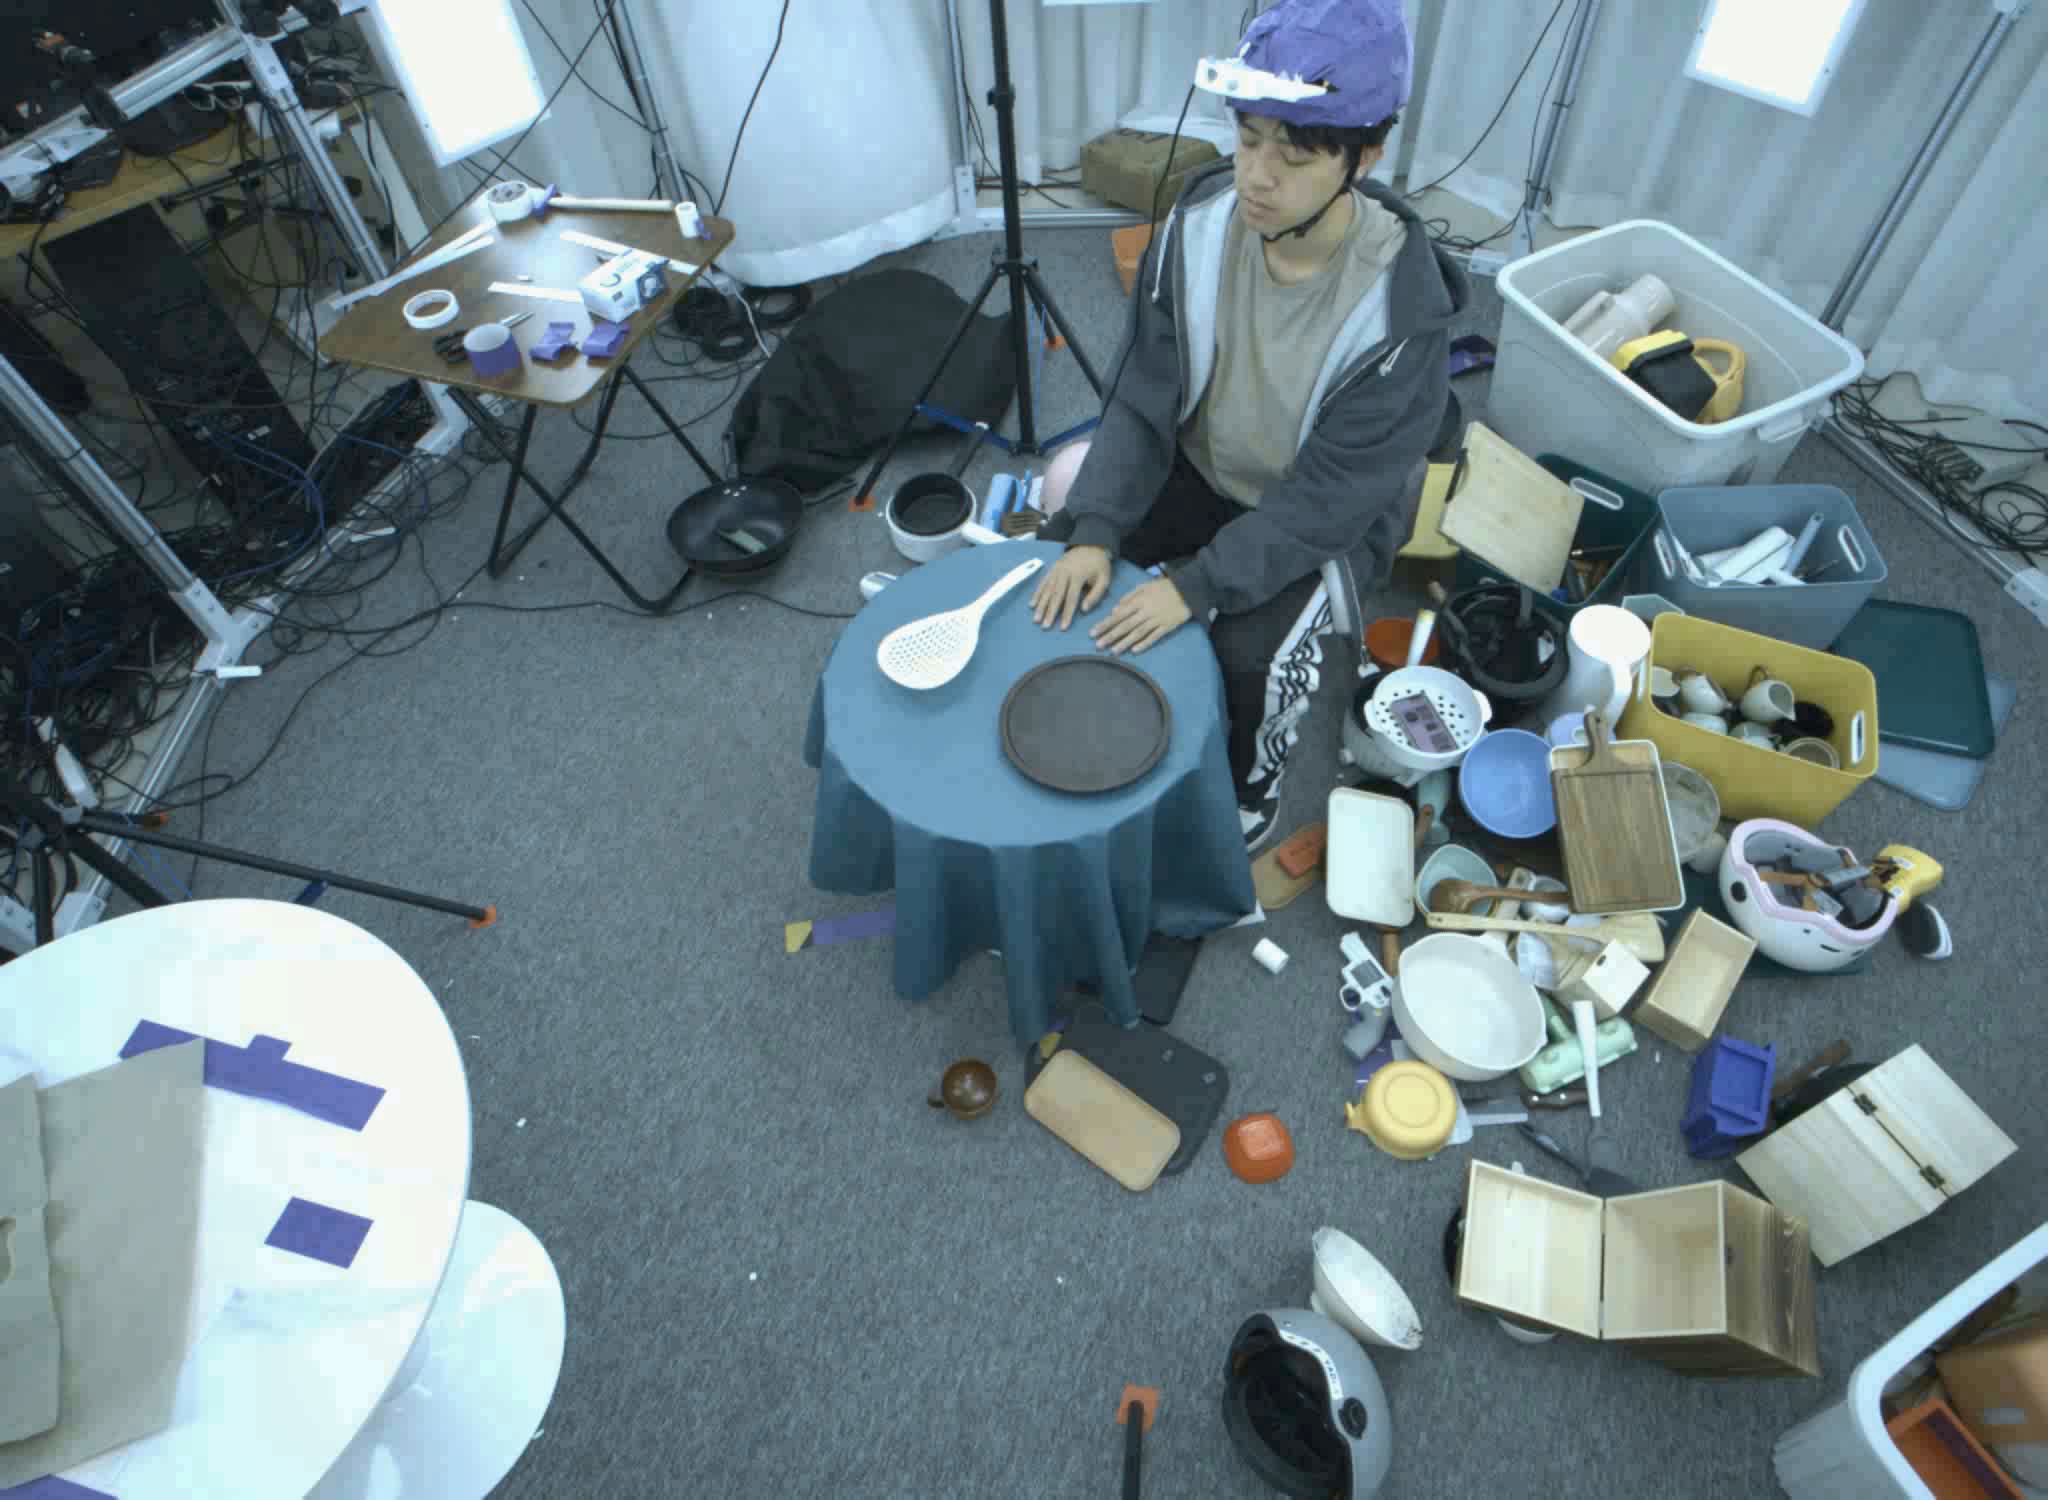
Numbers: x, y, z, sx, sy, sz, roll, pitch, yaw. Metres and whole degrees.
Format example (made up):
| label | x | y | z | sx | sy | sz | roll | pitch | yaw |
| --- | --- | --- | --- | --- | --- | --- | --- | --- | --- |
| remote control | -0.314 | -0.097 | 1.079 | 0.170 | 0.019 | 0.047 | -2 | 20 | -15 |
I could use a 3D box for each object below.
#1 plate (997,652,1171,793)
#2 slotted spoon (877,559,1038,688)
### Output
| label | x | y | z | sx | sy | sz | roll | pitch | yaw |
| --- | --- | --- | --- | --- | --- | --- | --- | --- | --- |
| plate | 0.088 | -0.041 | 1.801 | 0.254 | 0.029 | 0.252 | -1 | 54 | 2 |
| slotted spoon | -0.083 | -0.207 | 1.915 | 0.134 | 0.051 | 0.350 | 30 | 61 | 24 |
